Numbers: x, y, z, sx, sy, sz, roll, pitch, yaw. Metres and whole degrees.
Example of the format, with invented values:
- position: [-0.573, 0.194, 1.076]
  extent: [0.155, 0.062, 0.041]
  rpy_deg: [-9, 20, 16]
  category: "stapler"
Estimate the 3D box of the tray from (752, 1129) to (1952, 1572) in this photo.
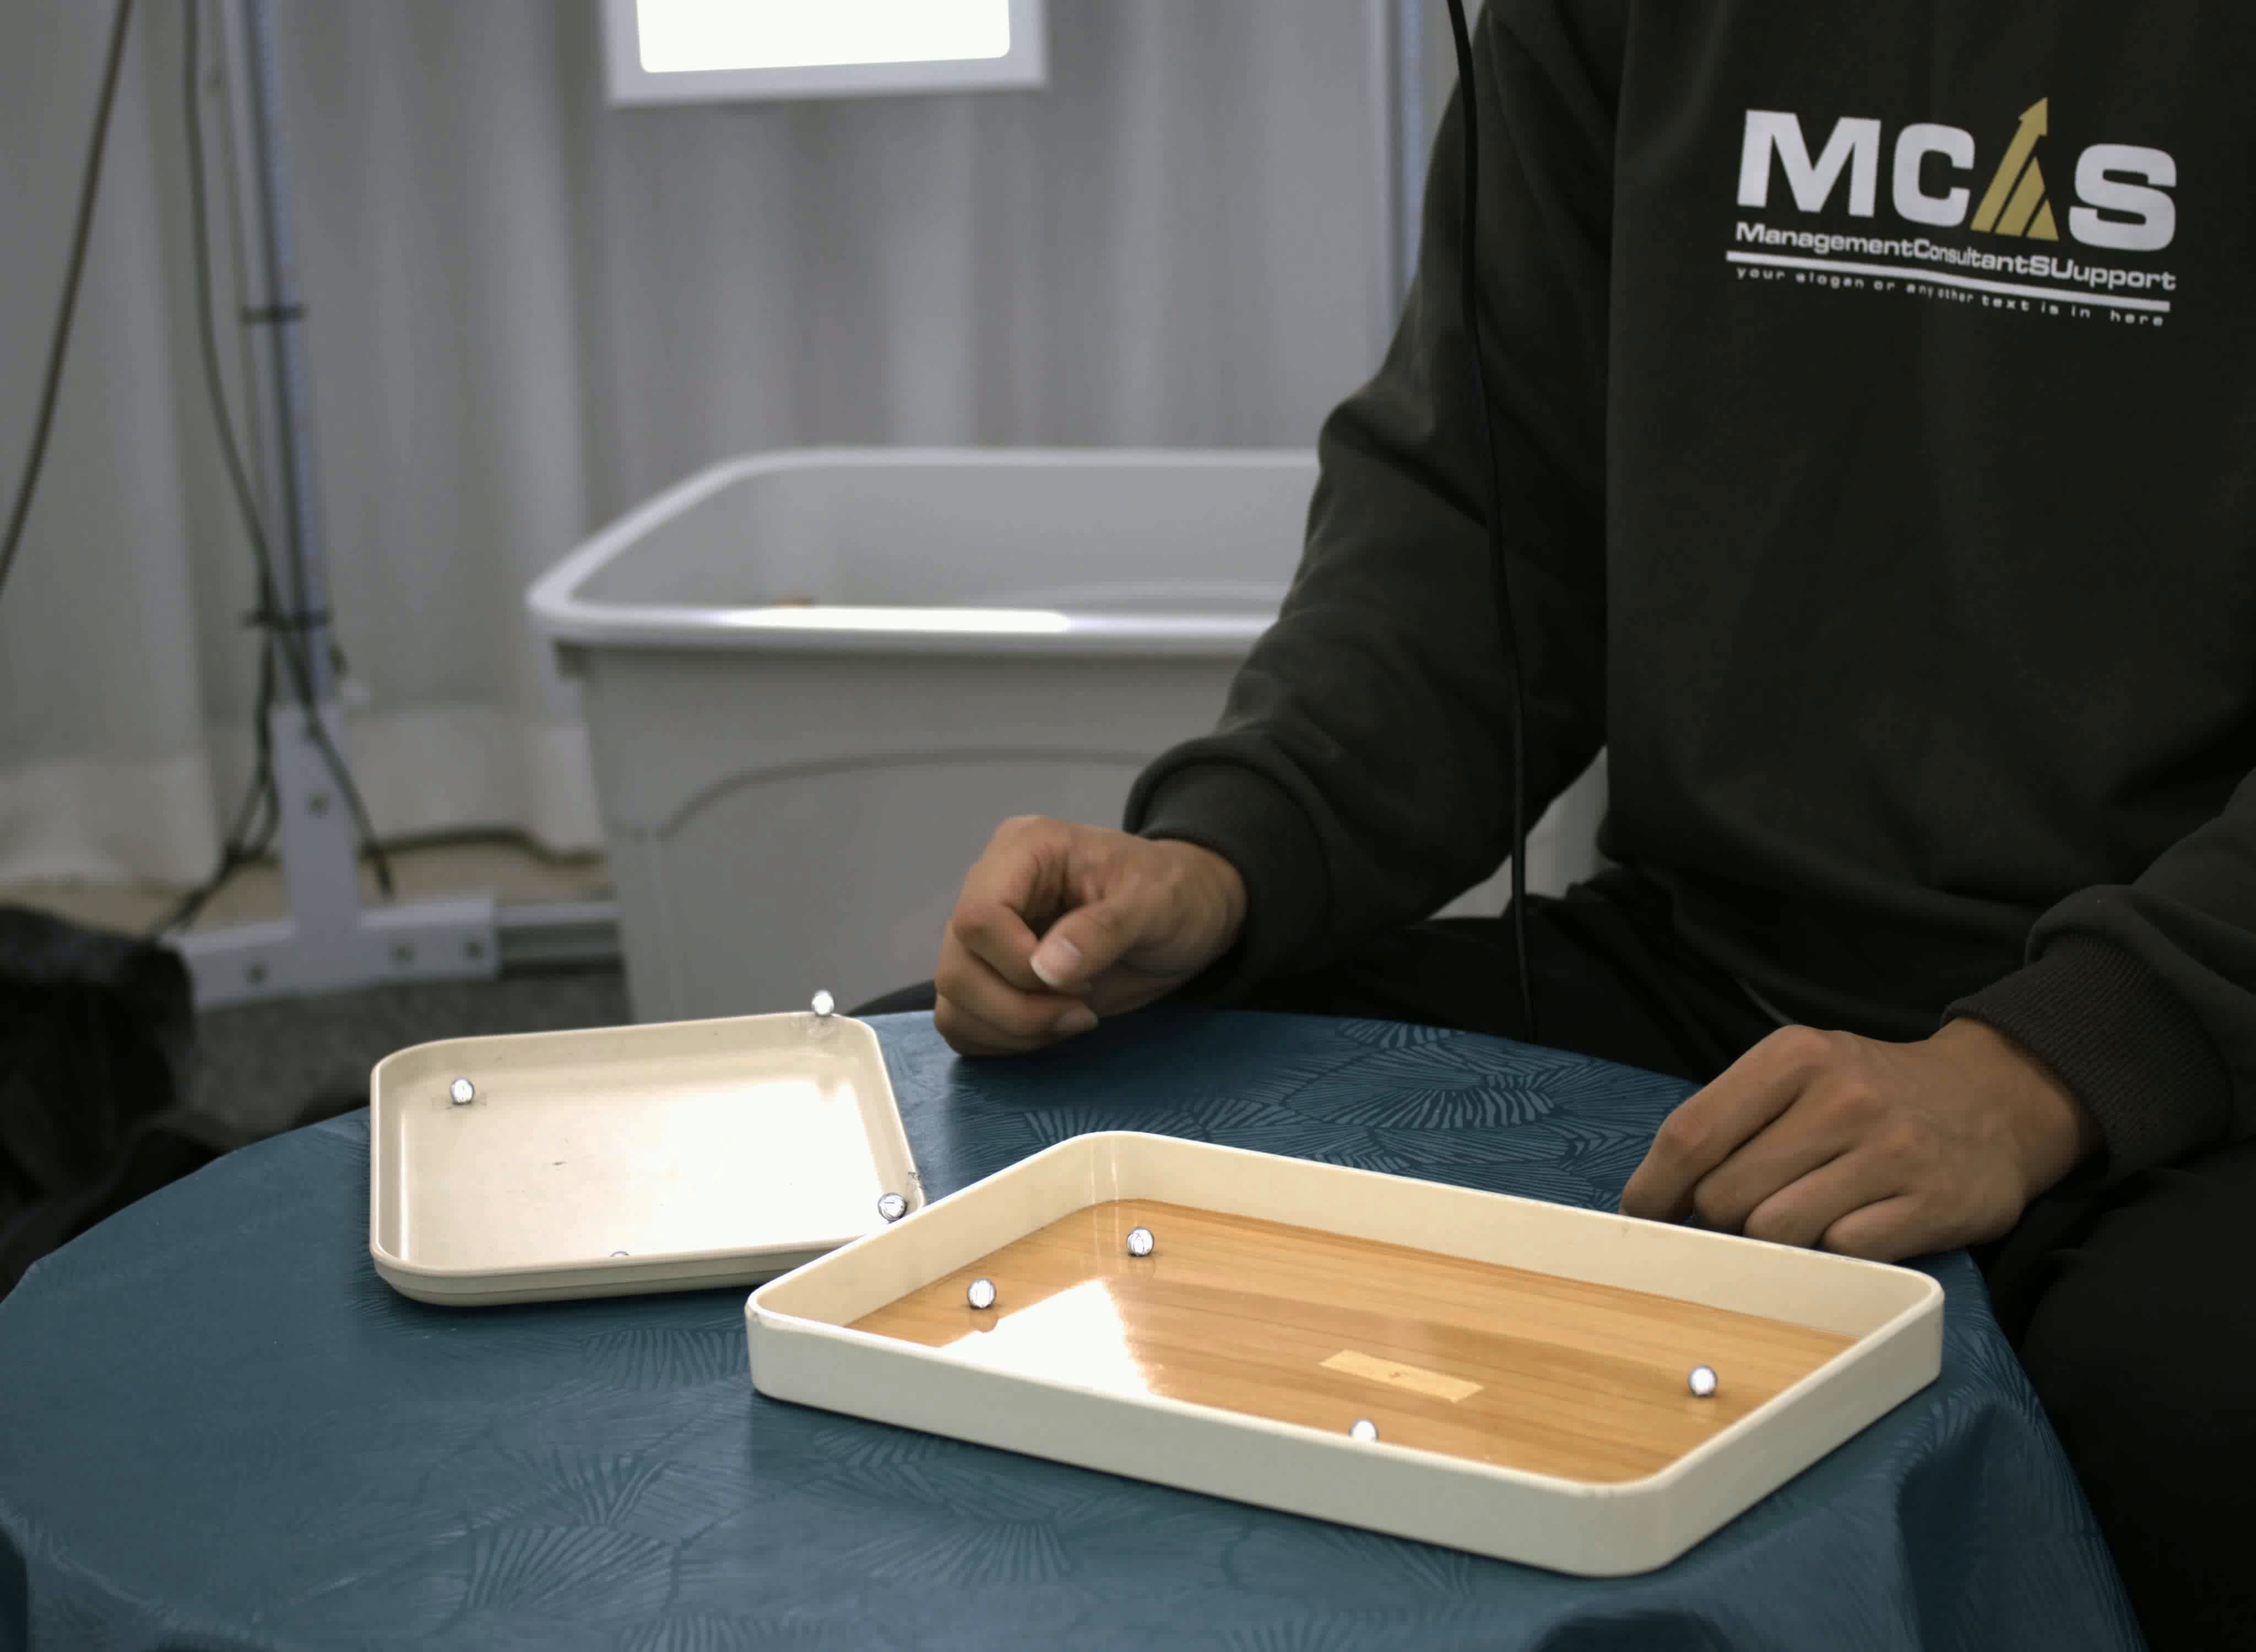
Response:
- position: [0.062, 0.144, 1.547]
  extent: [0.301, 0.027, 0.191]
  rpy_deg: [8, 18, 34]
  category: "tray"

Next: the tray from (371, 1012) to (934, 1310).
- position: [-0.155, 0.106, 1.745]
  extent: [0.170, 0.017, 0.241]
  rpy_deg: [-5, 15, -7]
  category: "tray"
